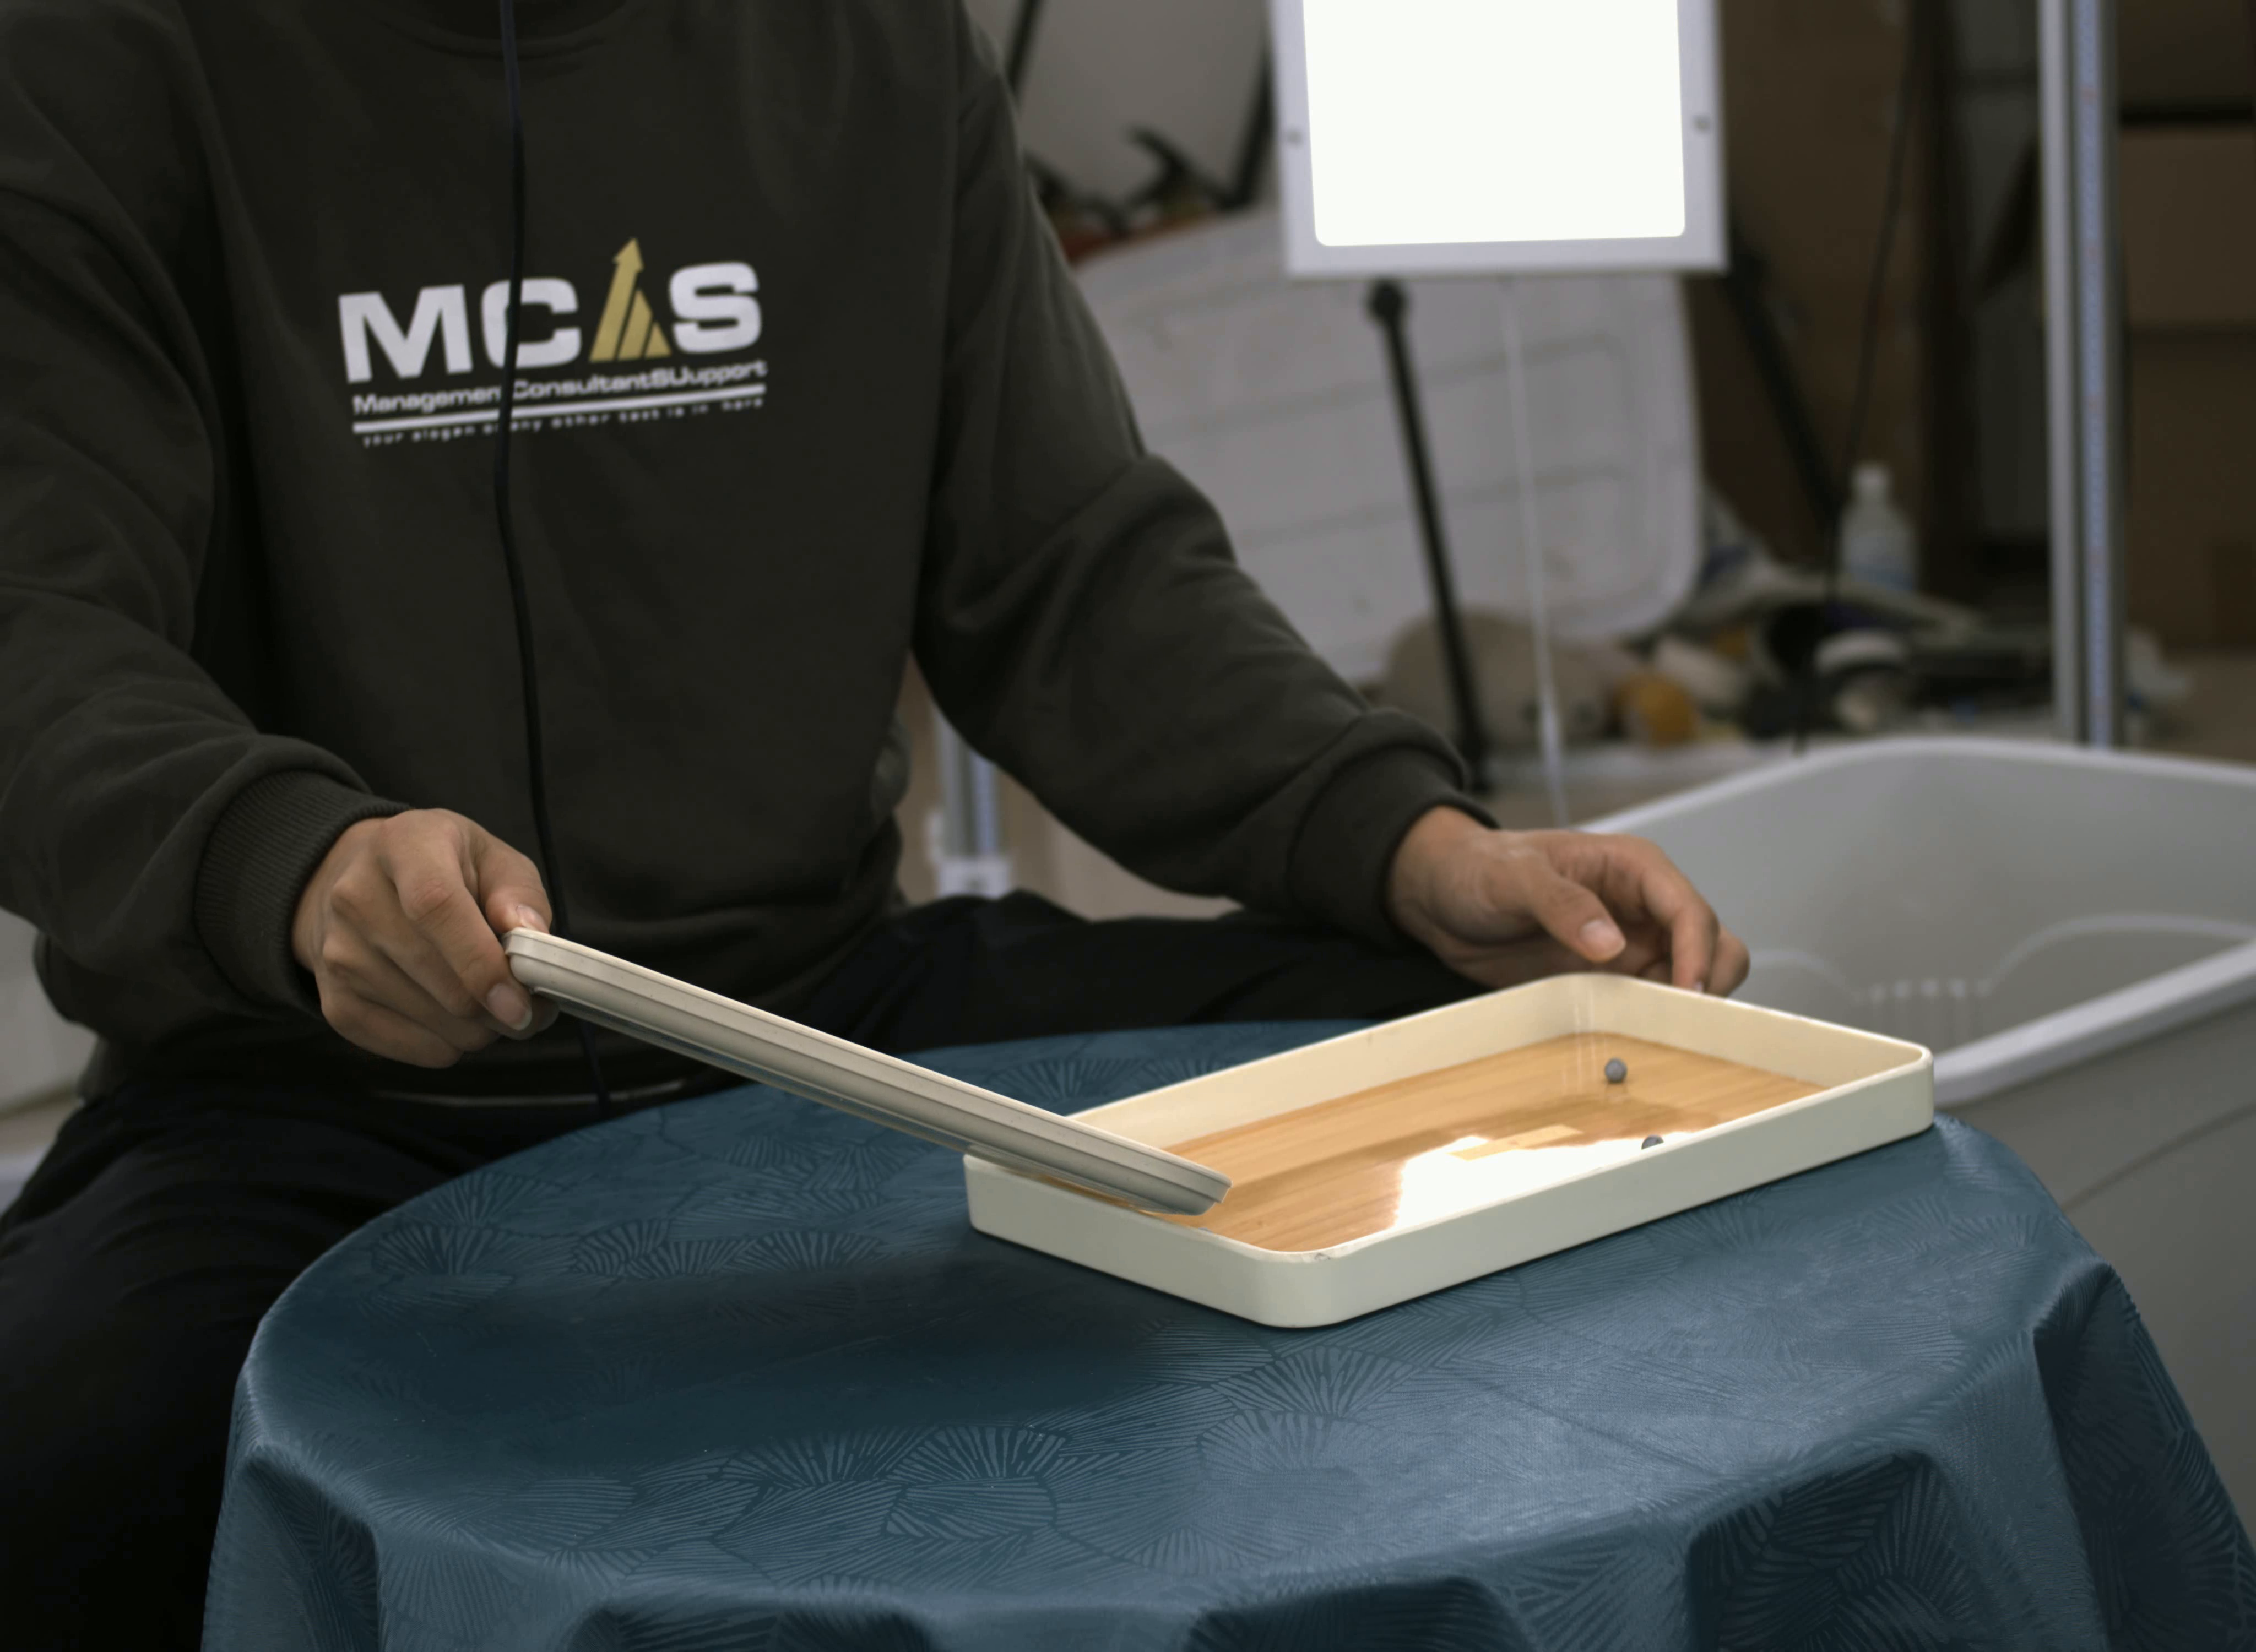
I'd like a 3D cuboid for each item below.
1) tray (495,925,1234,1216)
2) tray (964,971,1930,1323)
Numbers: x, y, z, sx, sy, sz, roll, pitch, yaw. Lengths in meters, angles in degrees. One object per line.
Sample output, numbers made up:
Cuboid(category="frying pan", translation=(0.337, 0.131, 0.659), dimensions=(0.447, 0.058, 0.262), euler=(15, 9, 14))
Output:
Cuboid(category="tray", translation=(-0.089, 0.080, 1.764), dimensions=(0.238, 0.017, 0.172), euler=(20, -5, -6))
Cuboid(category="tray", translation=(0.112, 0.106, 1.887), dimensions=(0.293, 0.027, 0.195), euler=(-14, 16, -34))
